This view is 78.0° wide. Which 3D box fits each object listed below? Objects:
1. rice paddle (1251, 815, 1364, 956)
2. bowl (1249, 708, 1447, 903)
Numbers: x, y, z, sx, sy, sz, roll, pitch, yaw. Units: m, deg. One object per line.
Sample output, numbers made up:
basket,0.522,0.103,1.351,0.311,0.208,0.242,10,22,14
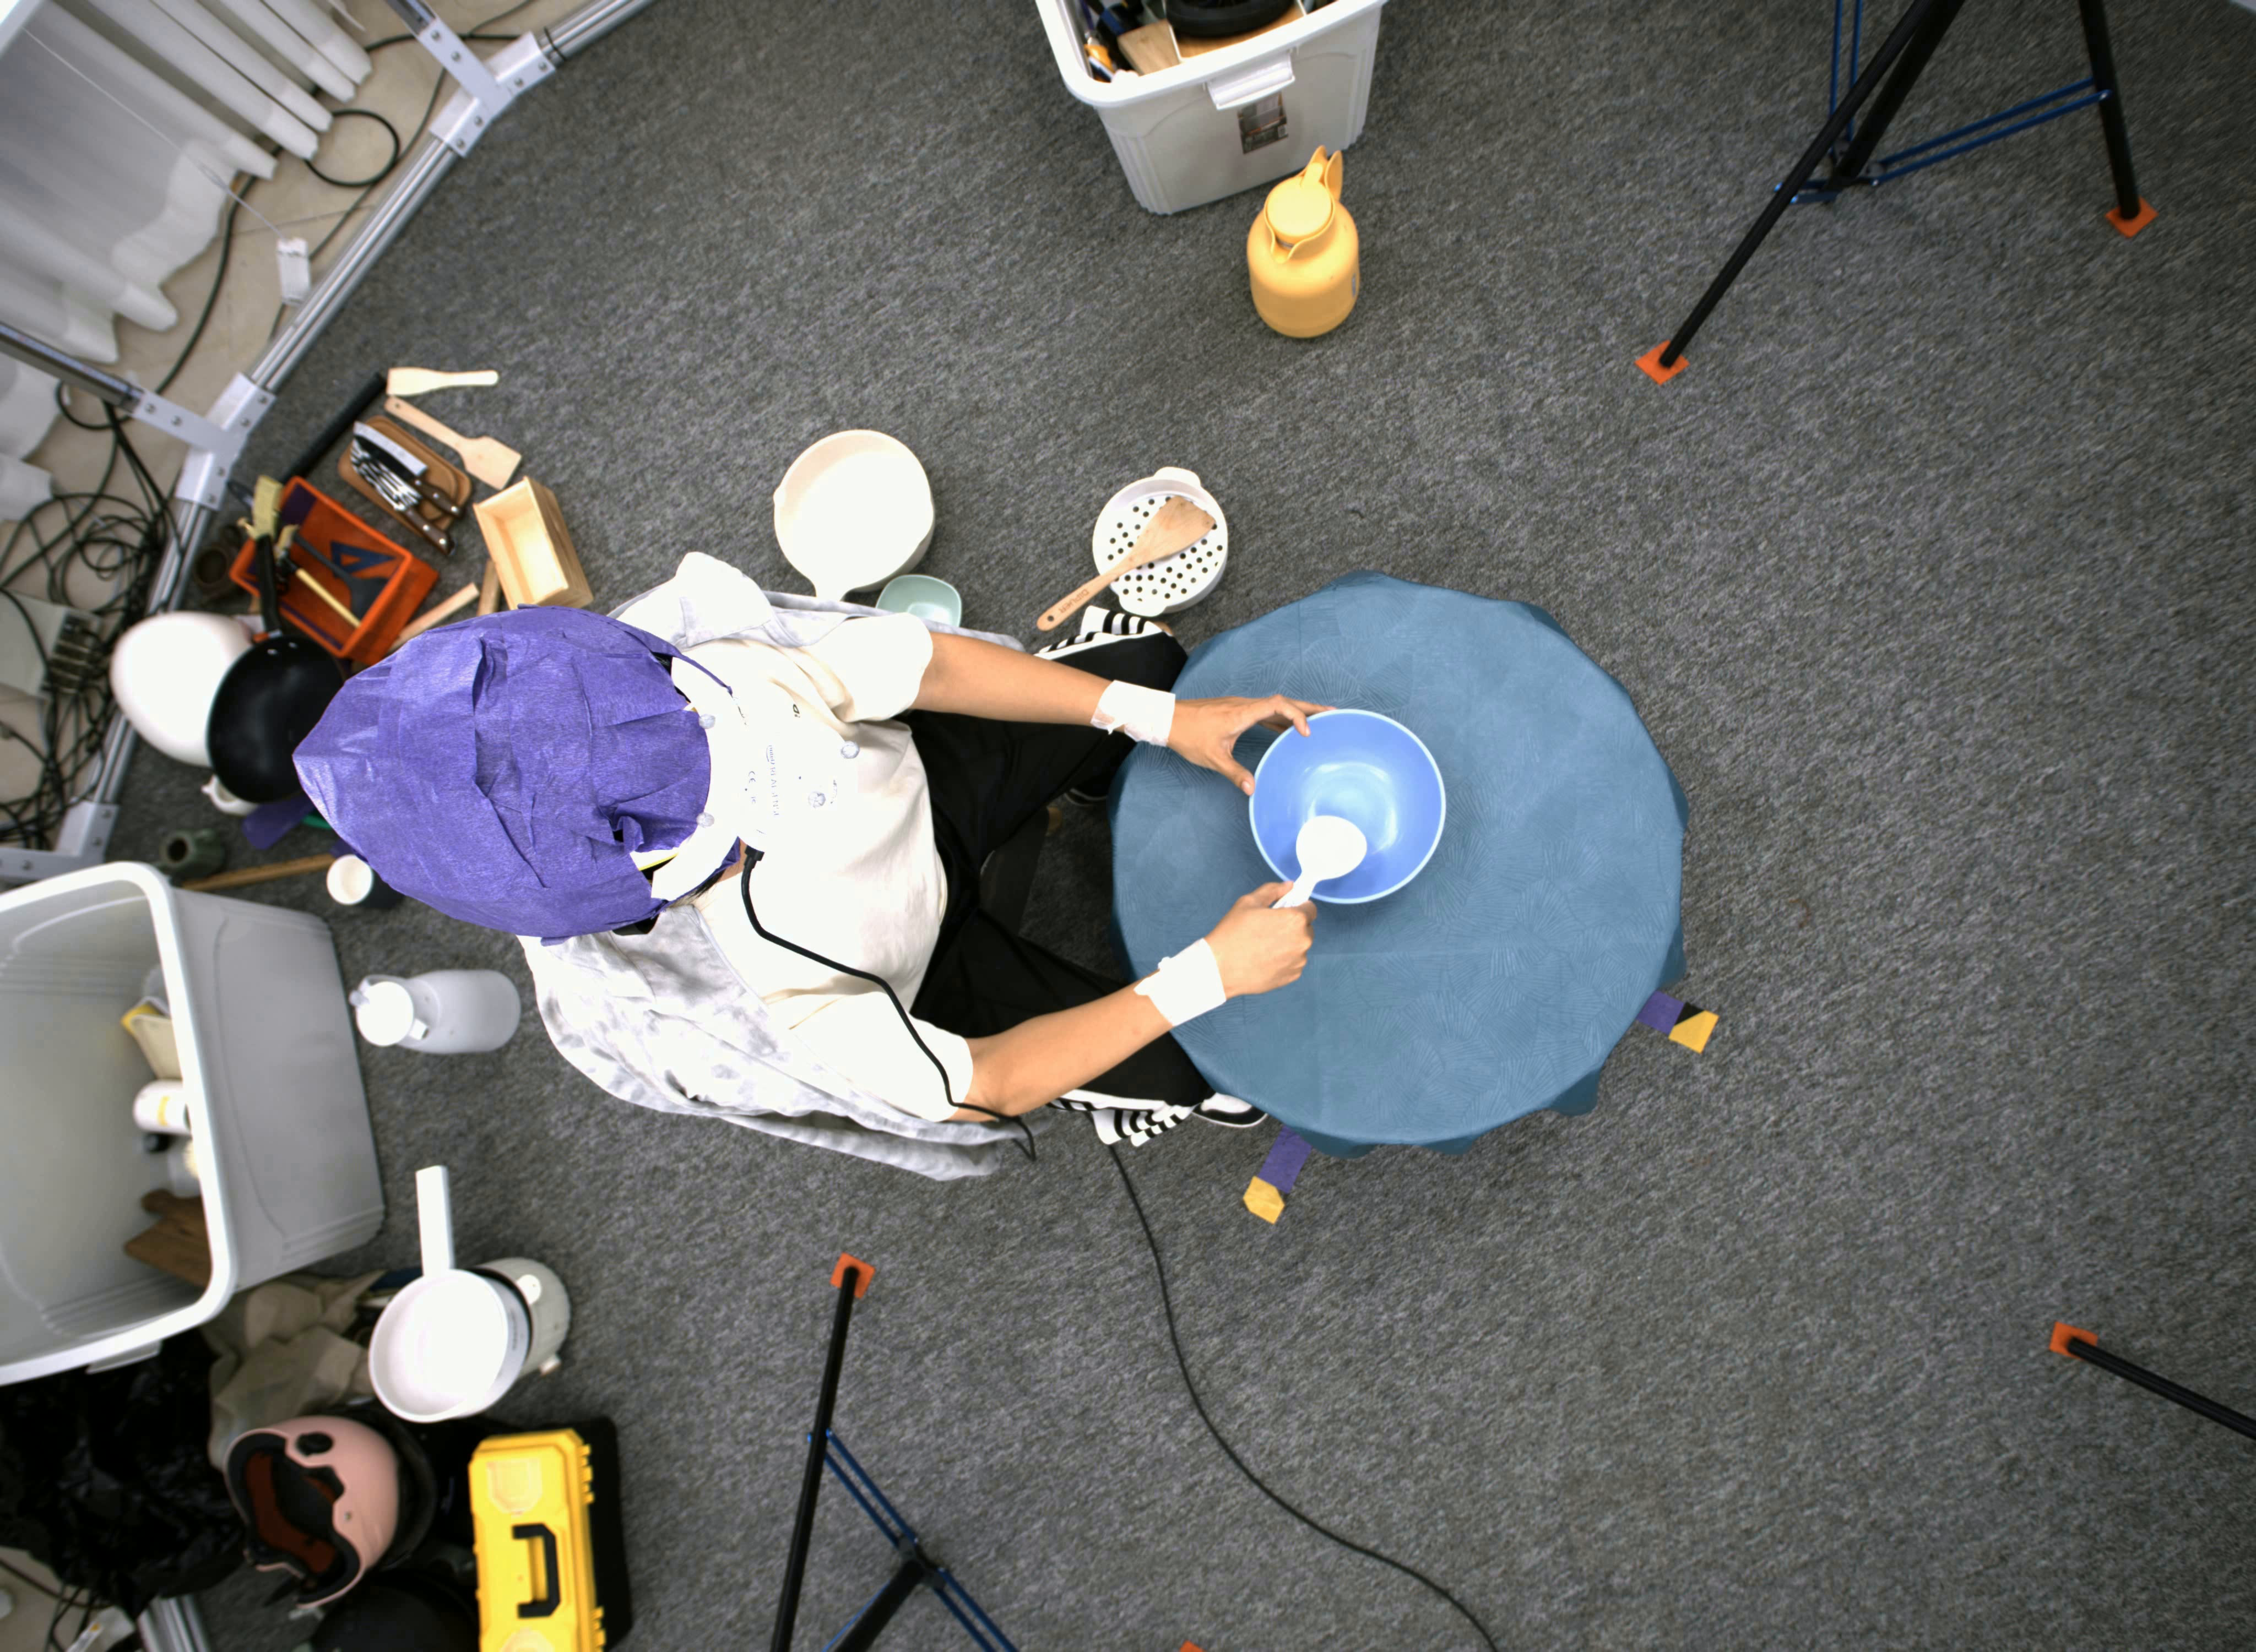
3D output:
rice paddle,0.176,0.050,1.358,0.068,0.030,0.200,28,48,12
bowl,0.225,-0.018,1.423,0.197,0.095,0.195,-1,87,9
